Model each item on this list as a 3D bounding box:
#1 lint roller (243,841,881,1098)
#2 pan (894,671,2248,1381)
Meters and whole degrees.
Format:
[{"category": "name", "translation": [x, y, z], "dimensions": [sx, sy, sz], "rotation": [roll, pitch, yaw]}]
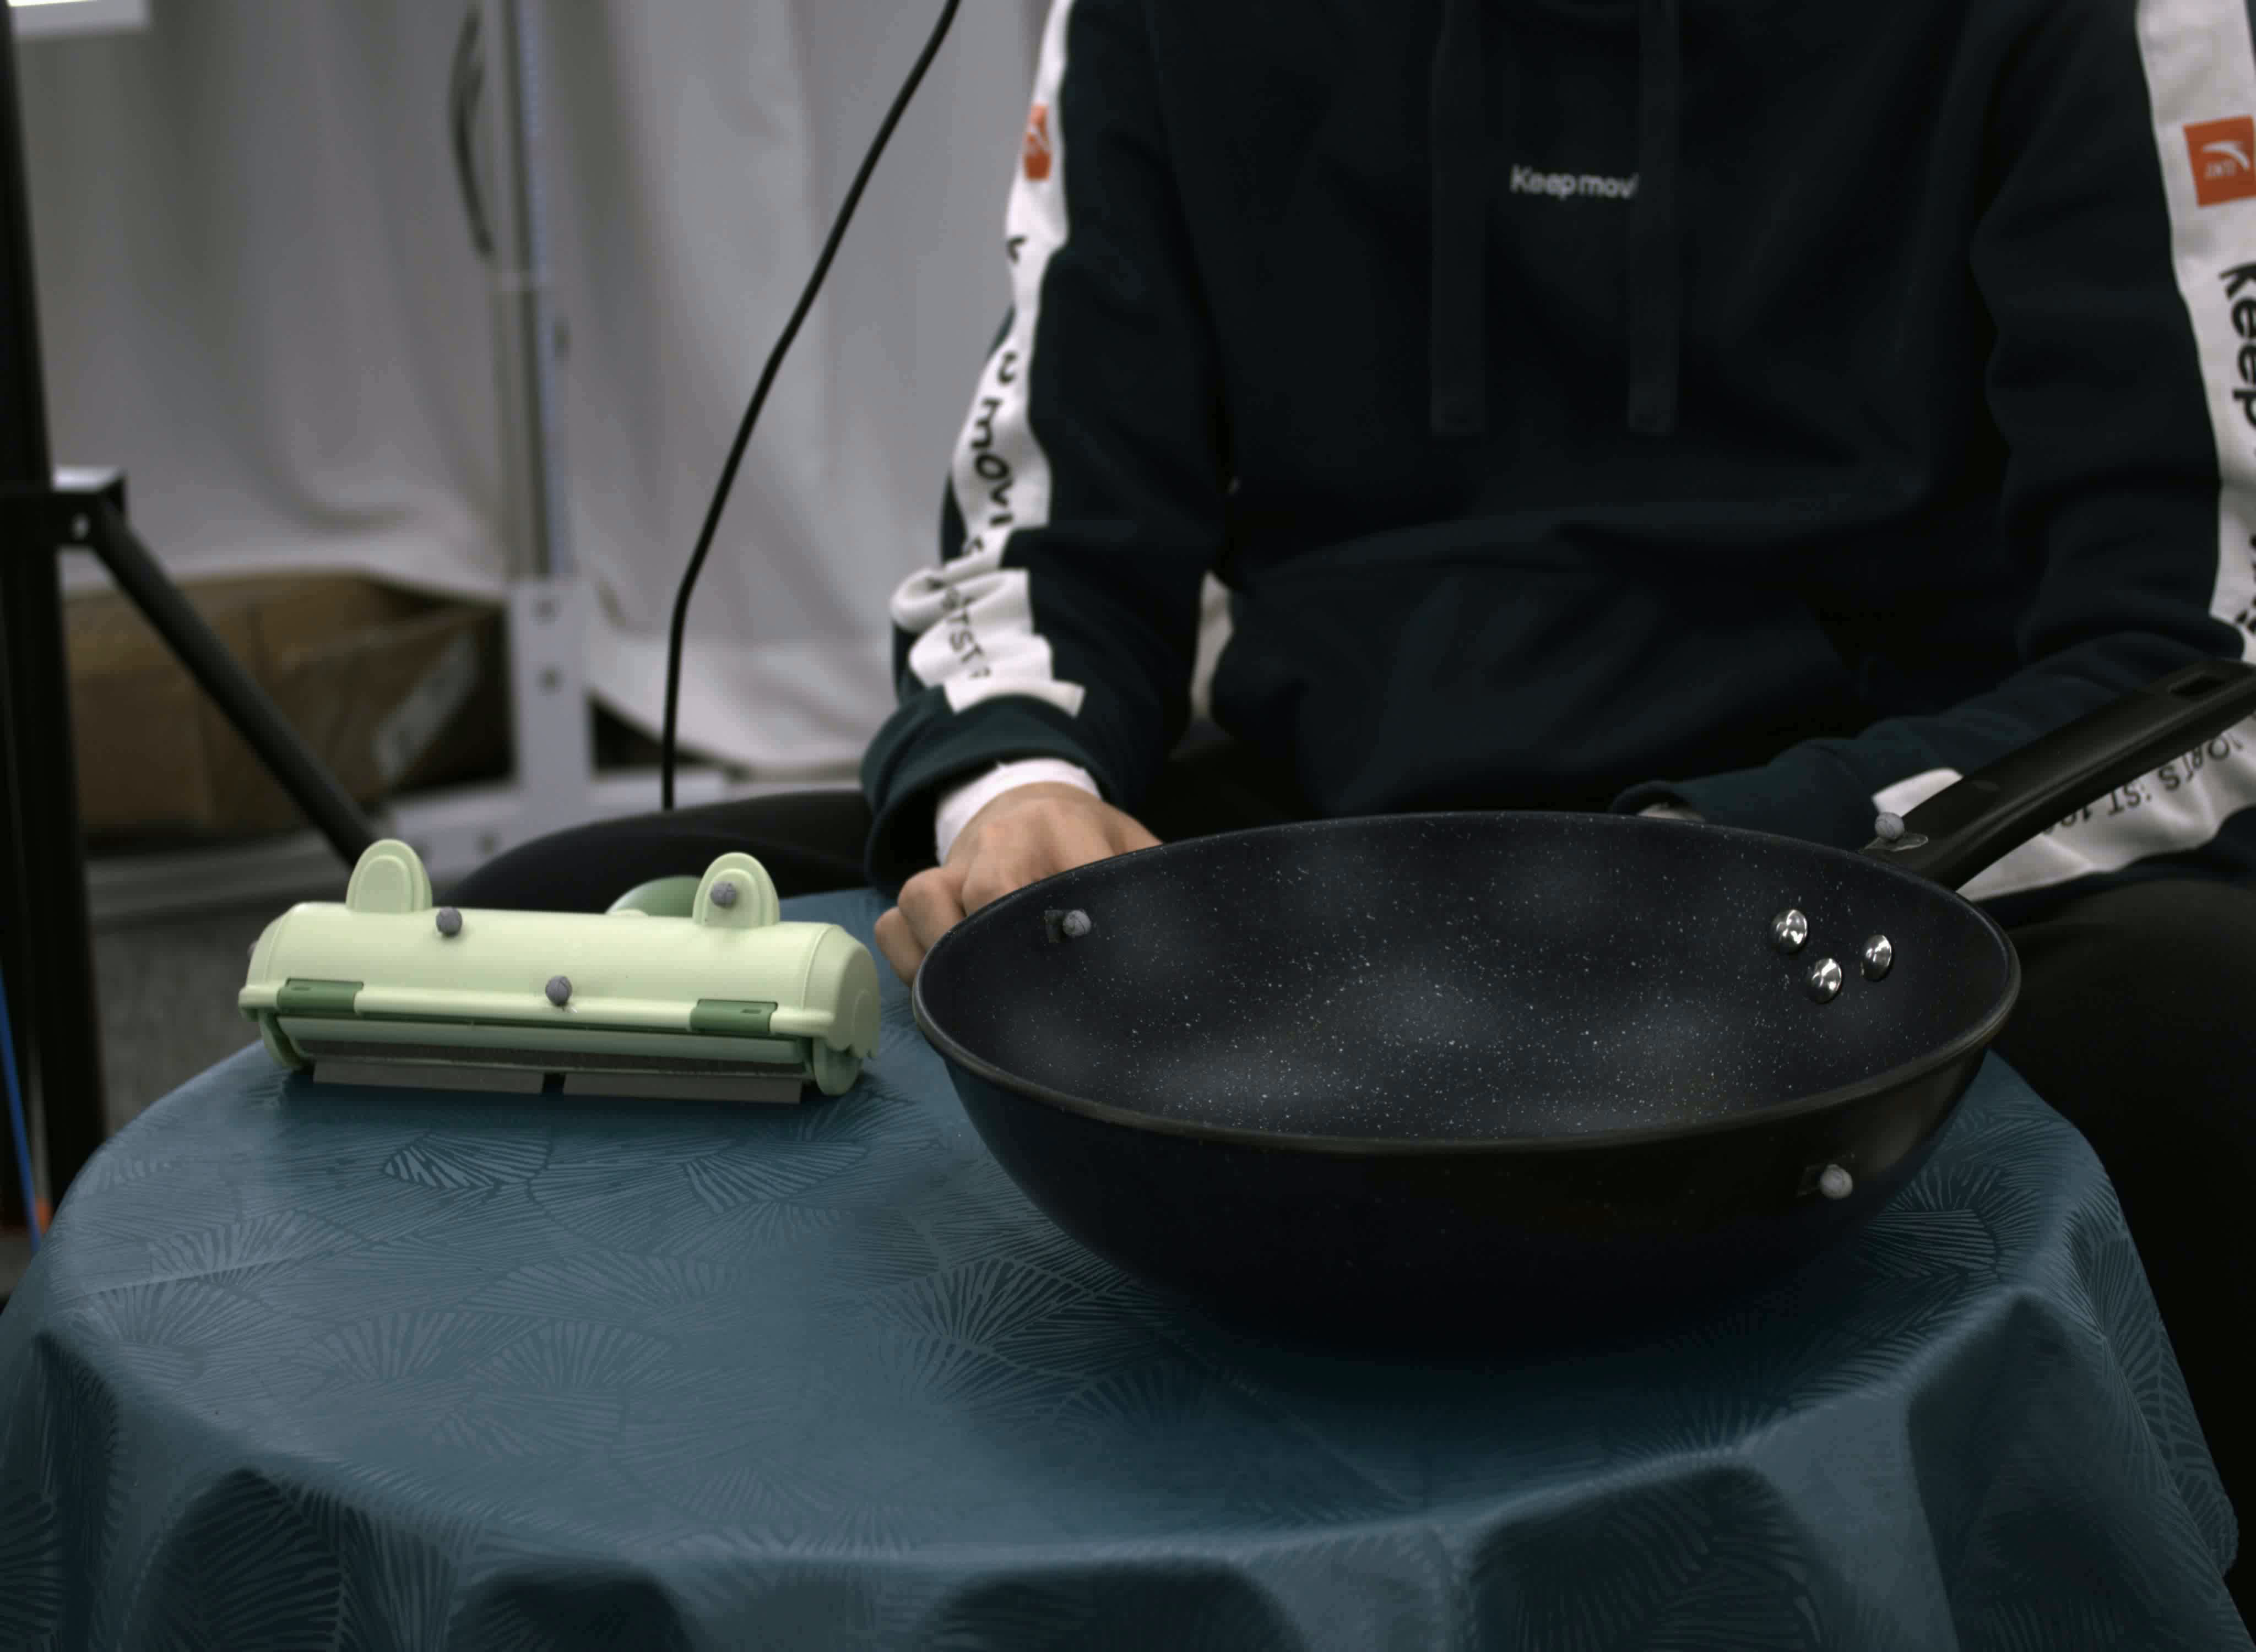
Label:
[{"category": "lint roller", "translation": [-0.164, 0.029, 1.728], "dimensions": [0.200, 0.082, 0.182], "rotation": [1, 21, 16]}, {"category": "pan", "translation": [0.156, 0.055, 1.525], "dimensions": [0.466, 0.111, 0.317], "rotation": [-14, 21, -33]}]
